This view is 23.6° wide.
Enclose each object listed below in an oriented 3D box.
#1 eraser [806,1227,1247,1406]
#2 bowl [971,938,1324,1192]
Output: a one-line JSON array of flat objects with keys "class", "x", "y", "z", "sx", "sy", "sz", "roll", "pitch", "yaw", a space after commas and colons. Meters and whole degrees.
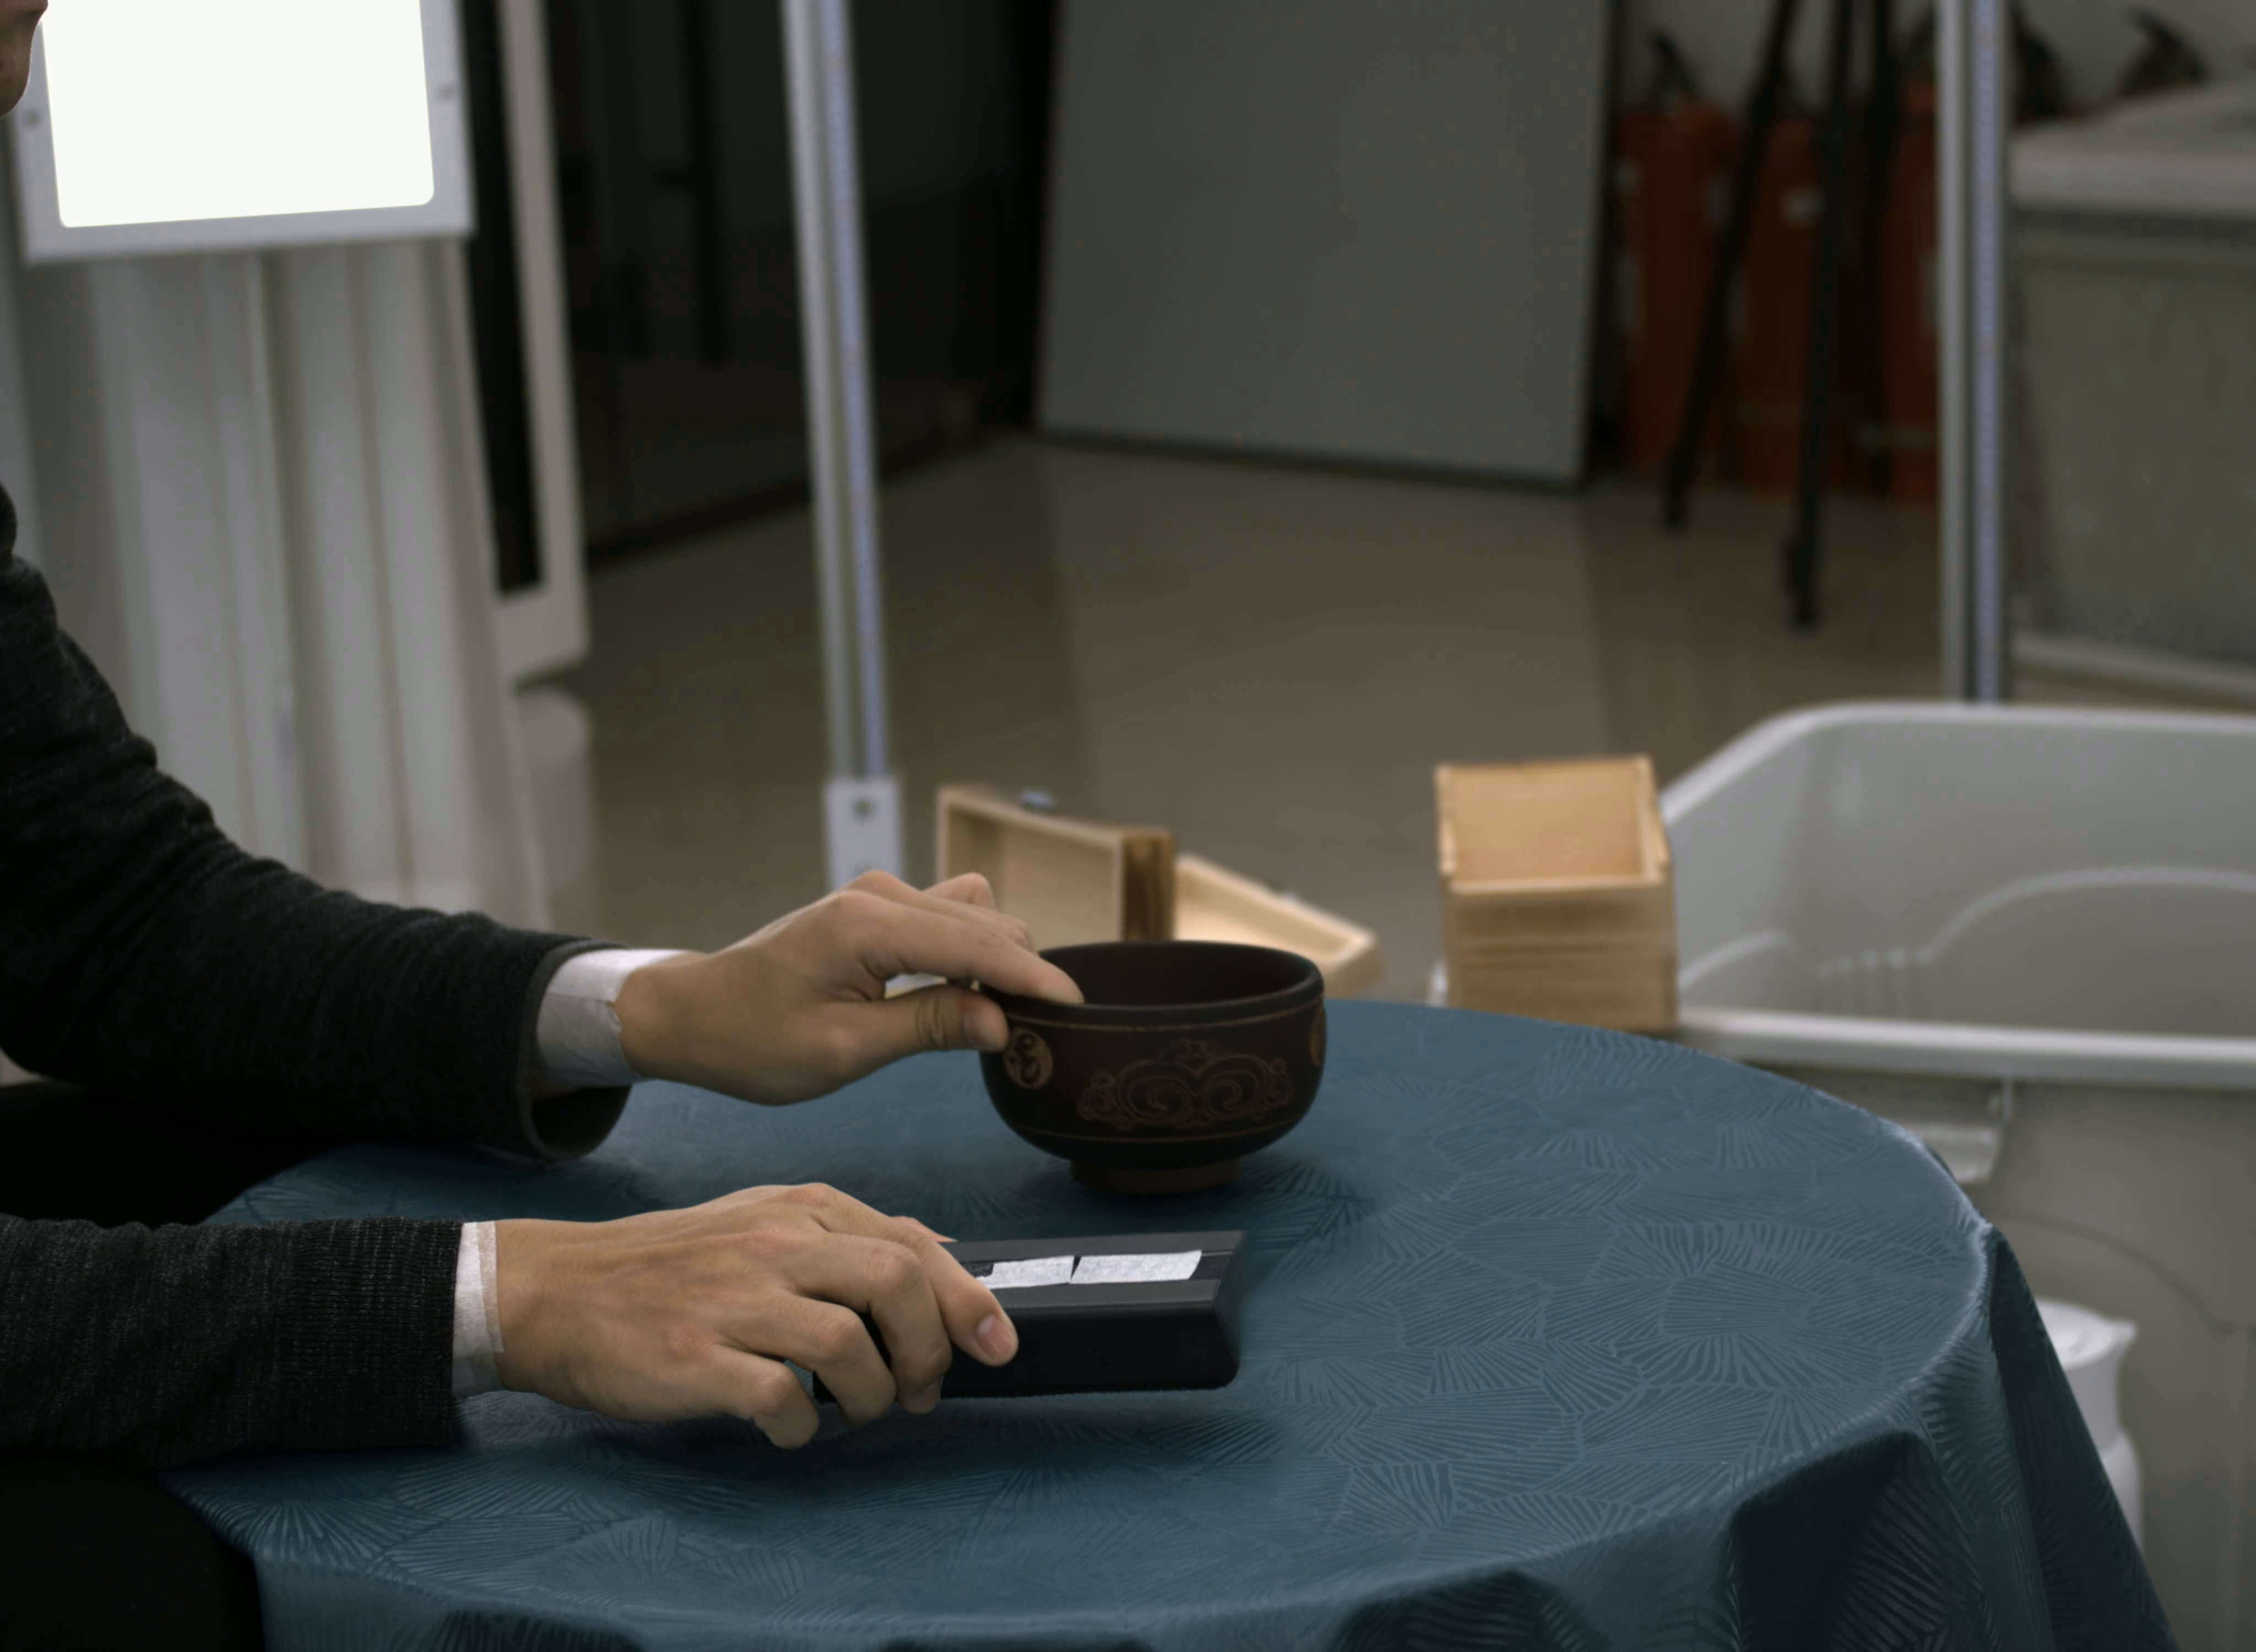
[{"class": "eraser", "x": -0.027, "y": 0.141, "z": 1.554, "sx": 0.125, "sy": 0.031, "sz": 0.053, "roll": -5, "pitch": 19, "yaw": 11}, {"class": "bowl", "x": 0.007, "y": 0.080, "z": 1.771, "sx": 0.116, "sy": 0.071, "sz": 0.118, "roll": -3, "pitch": 8, "yaw": -1}]
